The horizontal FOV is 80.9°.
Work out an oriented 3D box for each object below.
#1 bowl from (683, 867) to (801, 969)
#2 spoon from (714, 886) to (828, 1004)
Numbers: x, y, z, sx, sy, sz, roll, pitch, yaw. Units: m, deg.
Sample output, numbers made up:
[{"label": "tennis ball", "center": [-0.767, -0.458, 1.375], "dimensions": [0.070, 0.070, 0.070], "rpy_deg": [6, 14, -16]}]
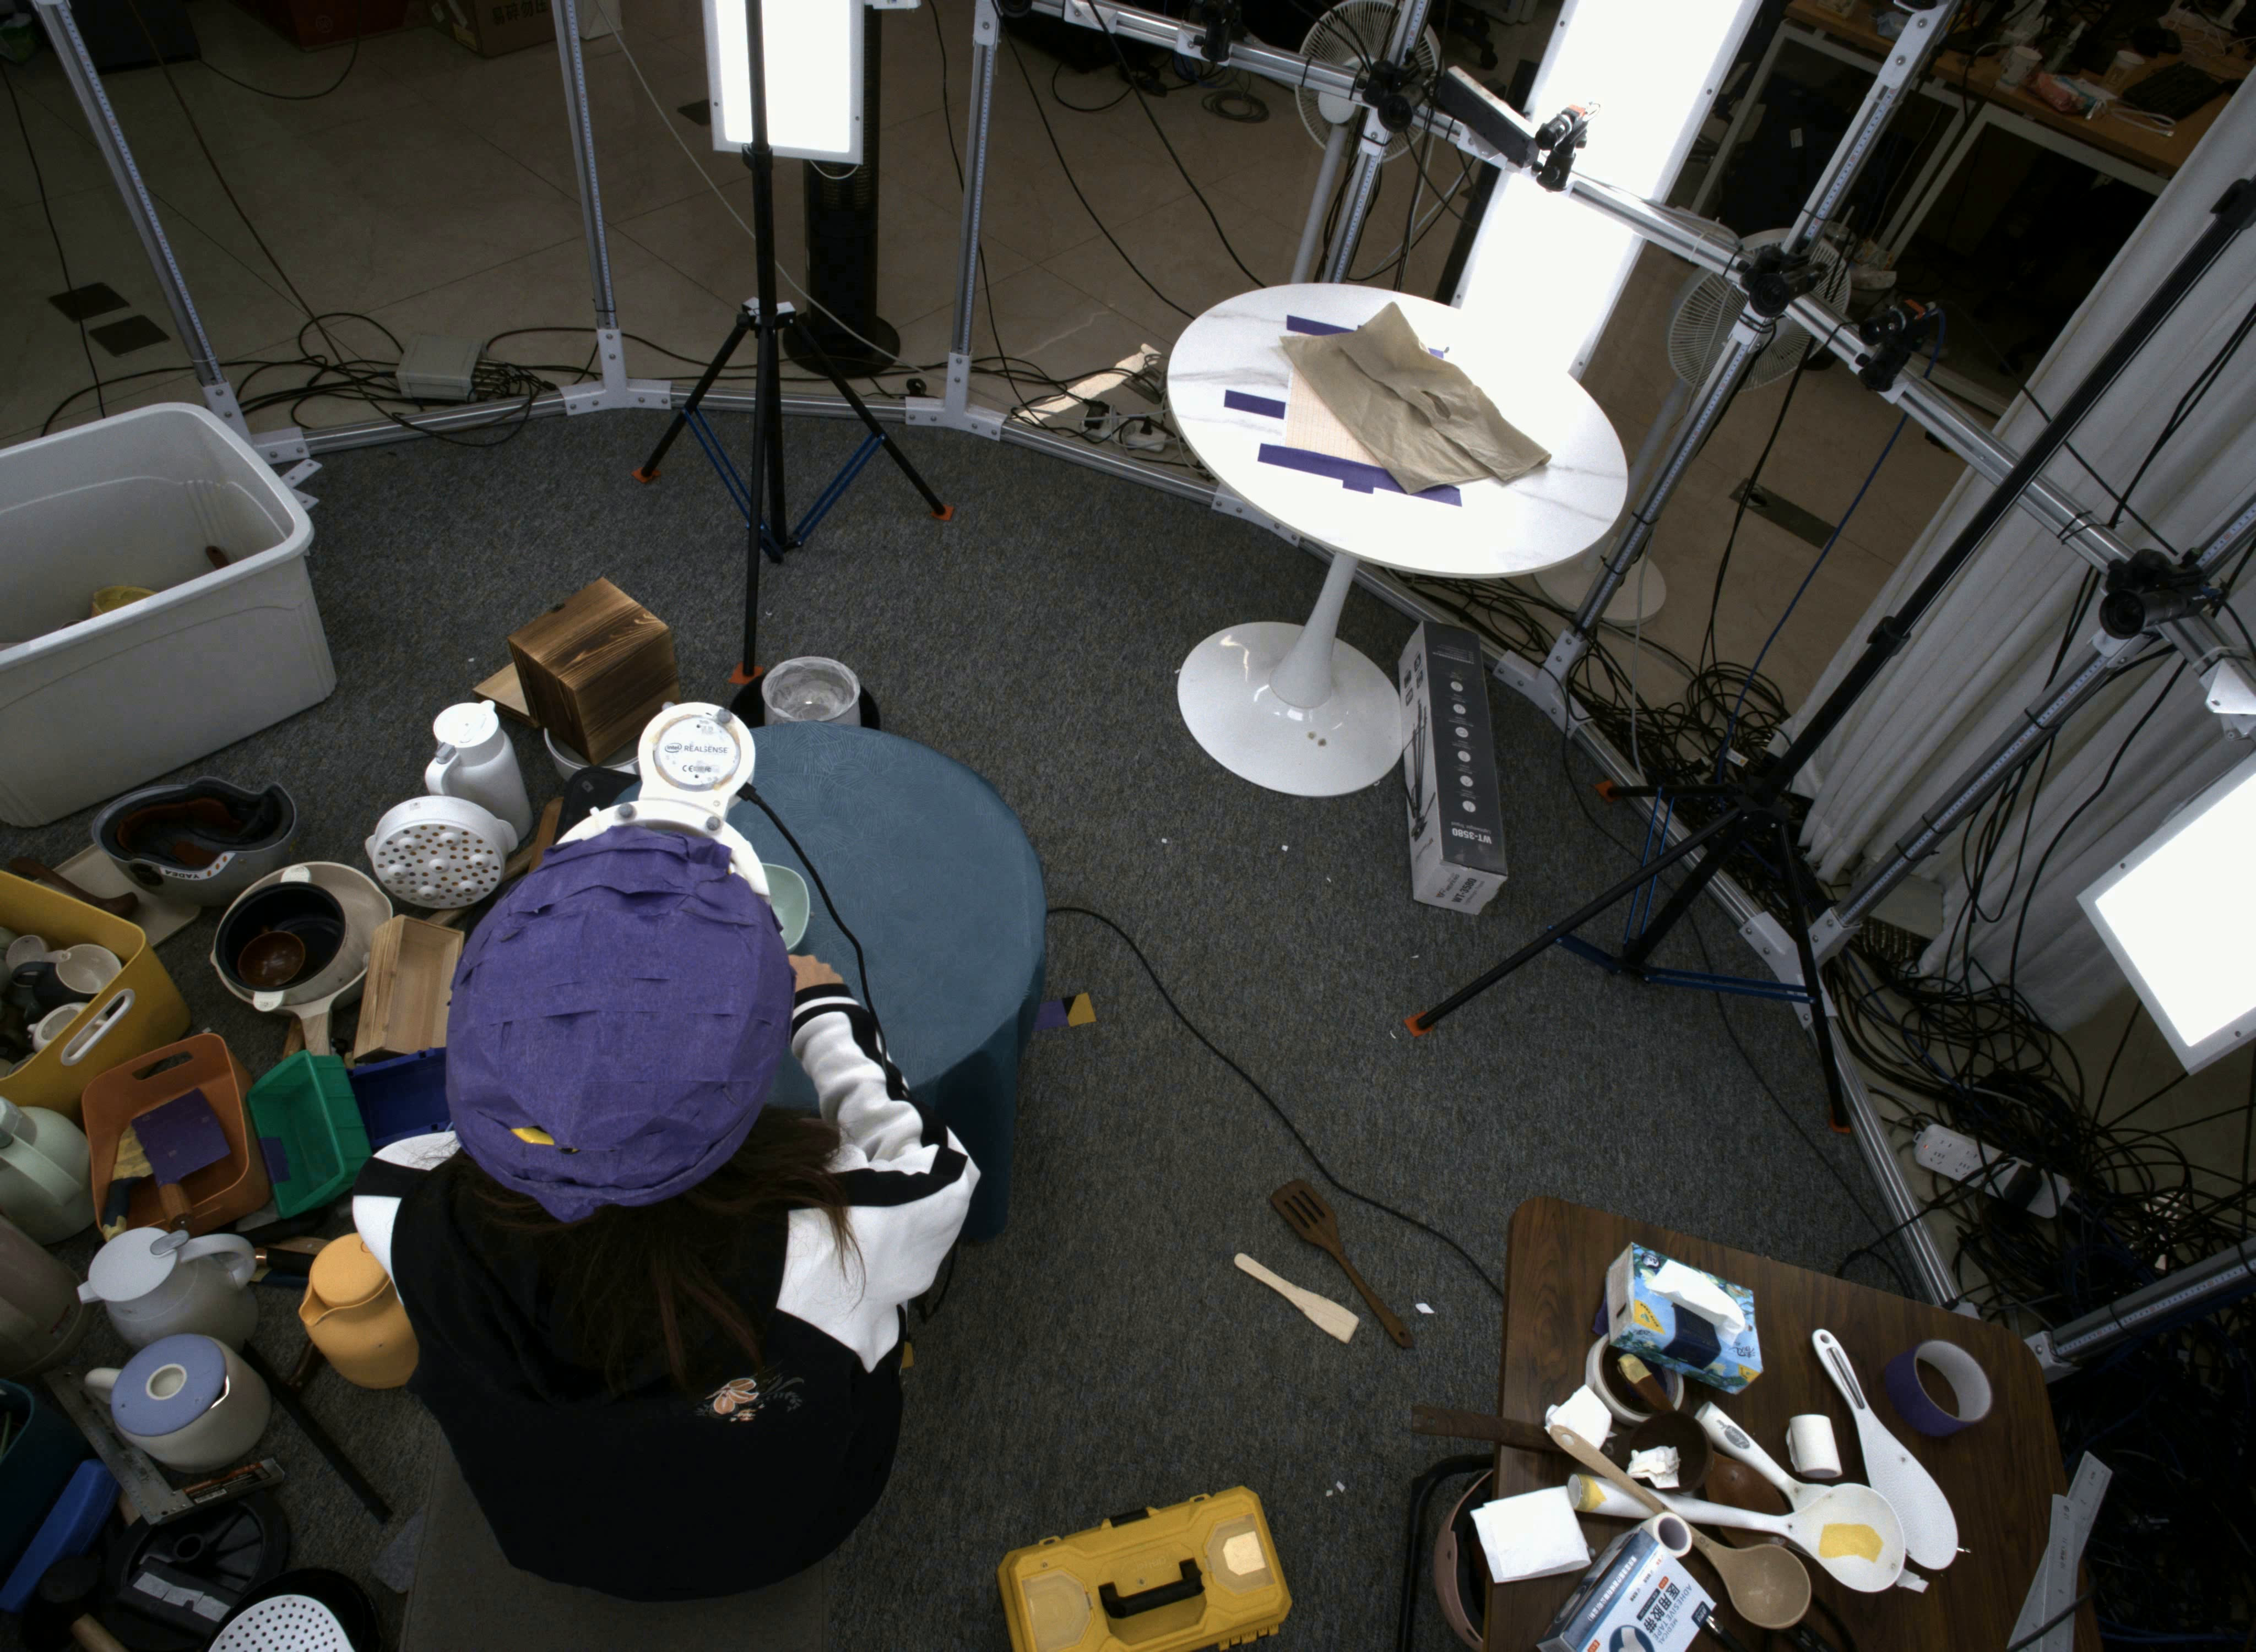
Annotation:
[{"label": "bowl", "center": [-0.470, 0.121, 1.582], "dimensions": [0.151, 0.060, 0.149], "rpy_deg": [8, 52, -8]}, {"label": "spoon", "center": [-0.404, 0.135, 1.487], "dimensions": [0.267, 0.104, 0.059], "rpy_deg": [18, 49, 41]}]
